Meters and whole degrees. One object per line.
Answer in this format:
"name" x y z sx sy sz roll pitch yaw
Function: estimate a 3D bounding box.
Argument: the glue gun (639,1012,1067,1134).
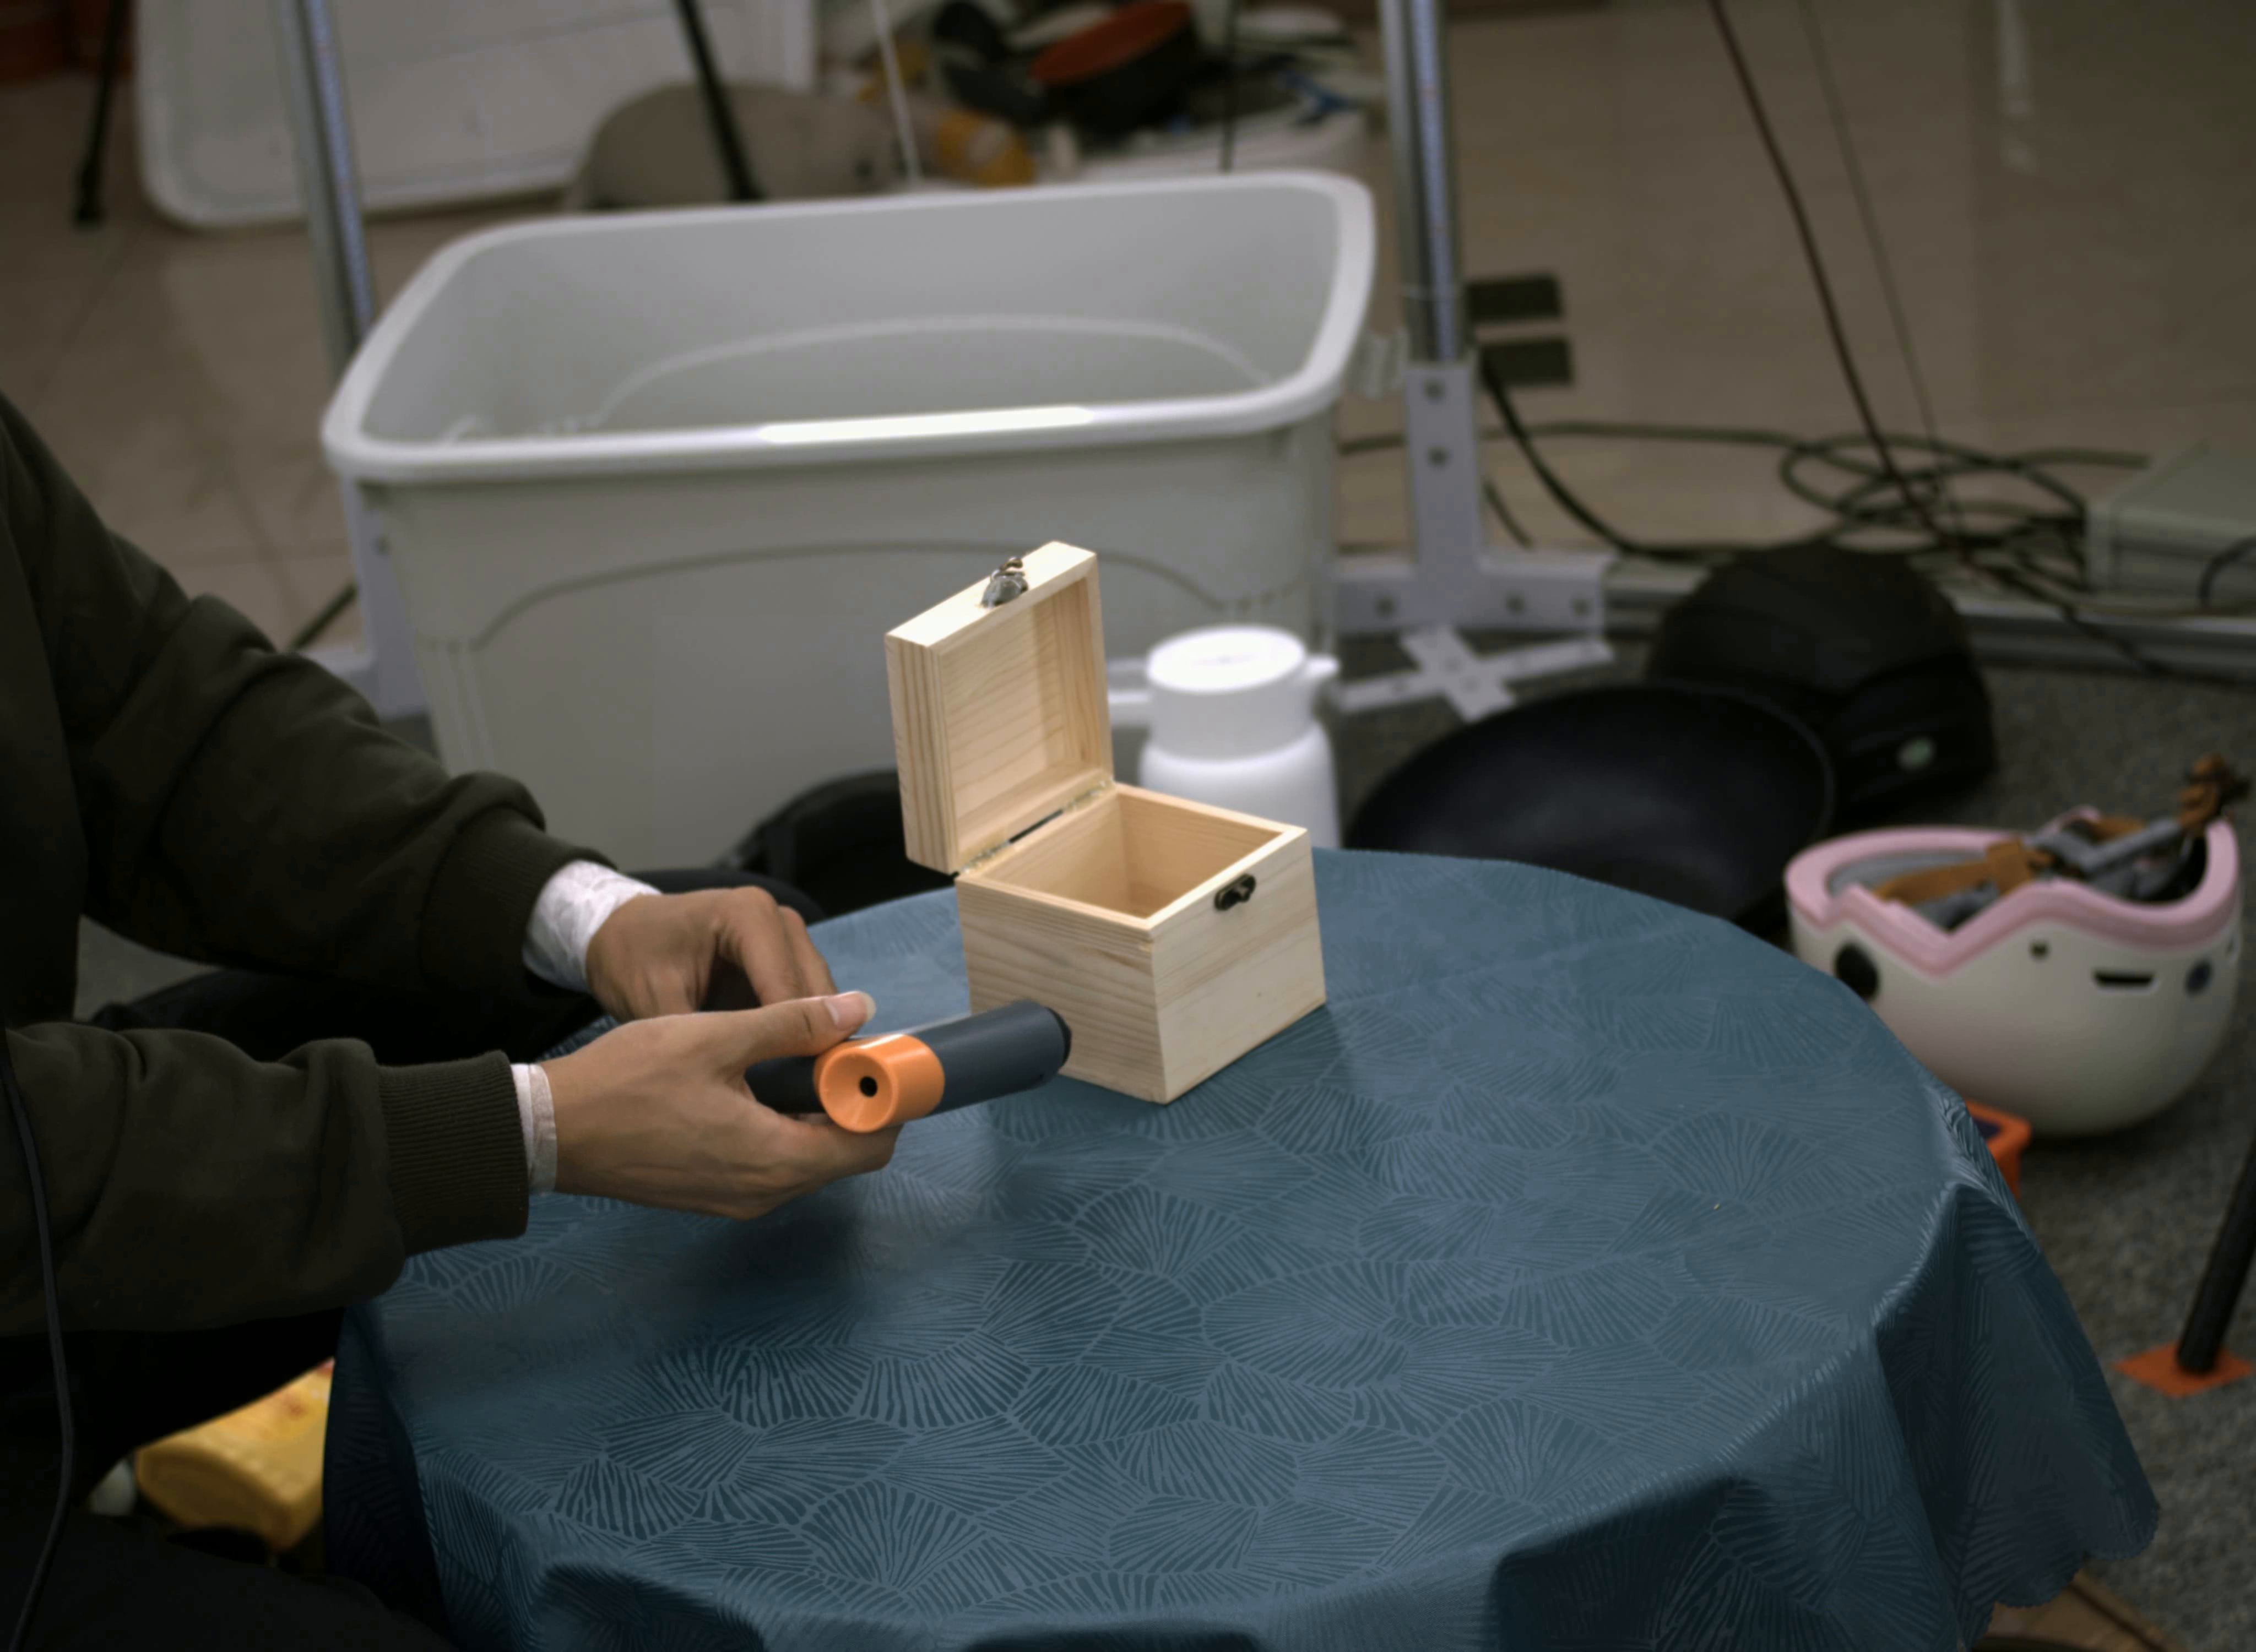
"glue gun" -0.102 0.091 2.129 0.139 0.041 0.117 -2 2 22

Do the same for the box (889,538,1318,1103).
"box" -0.007 -0.004 2.234 0.133 0.187 0.101 15 32 36
